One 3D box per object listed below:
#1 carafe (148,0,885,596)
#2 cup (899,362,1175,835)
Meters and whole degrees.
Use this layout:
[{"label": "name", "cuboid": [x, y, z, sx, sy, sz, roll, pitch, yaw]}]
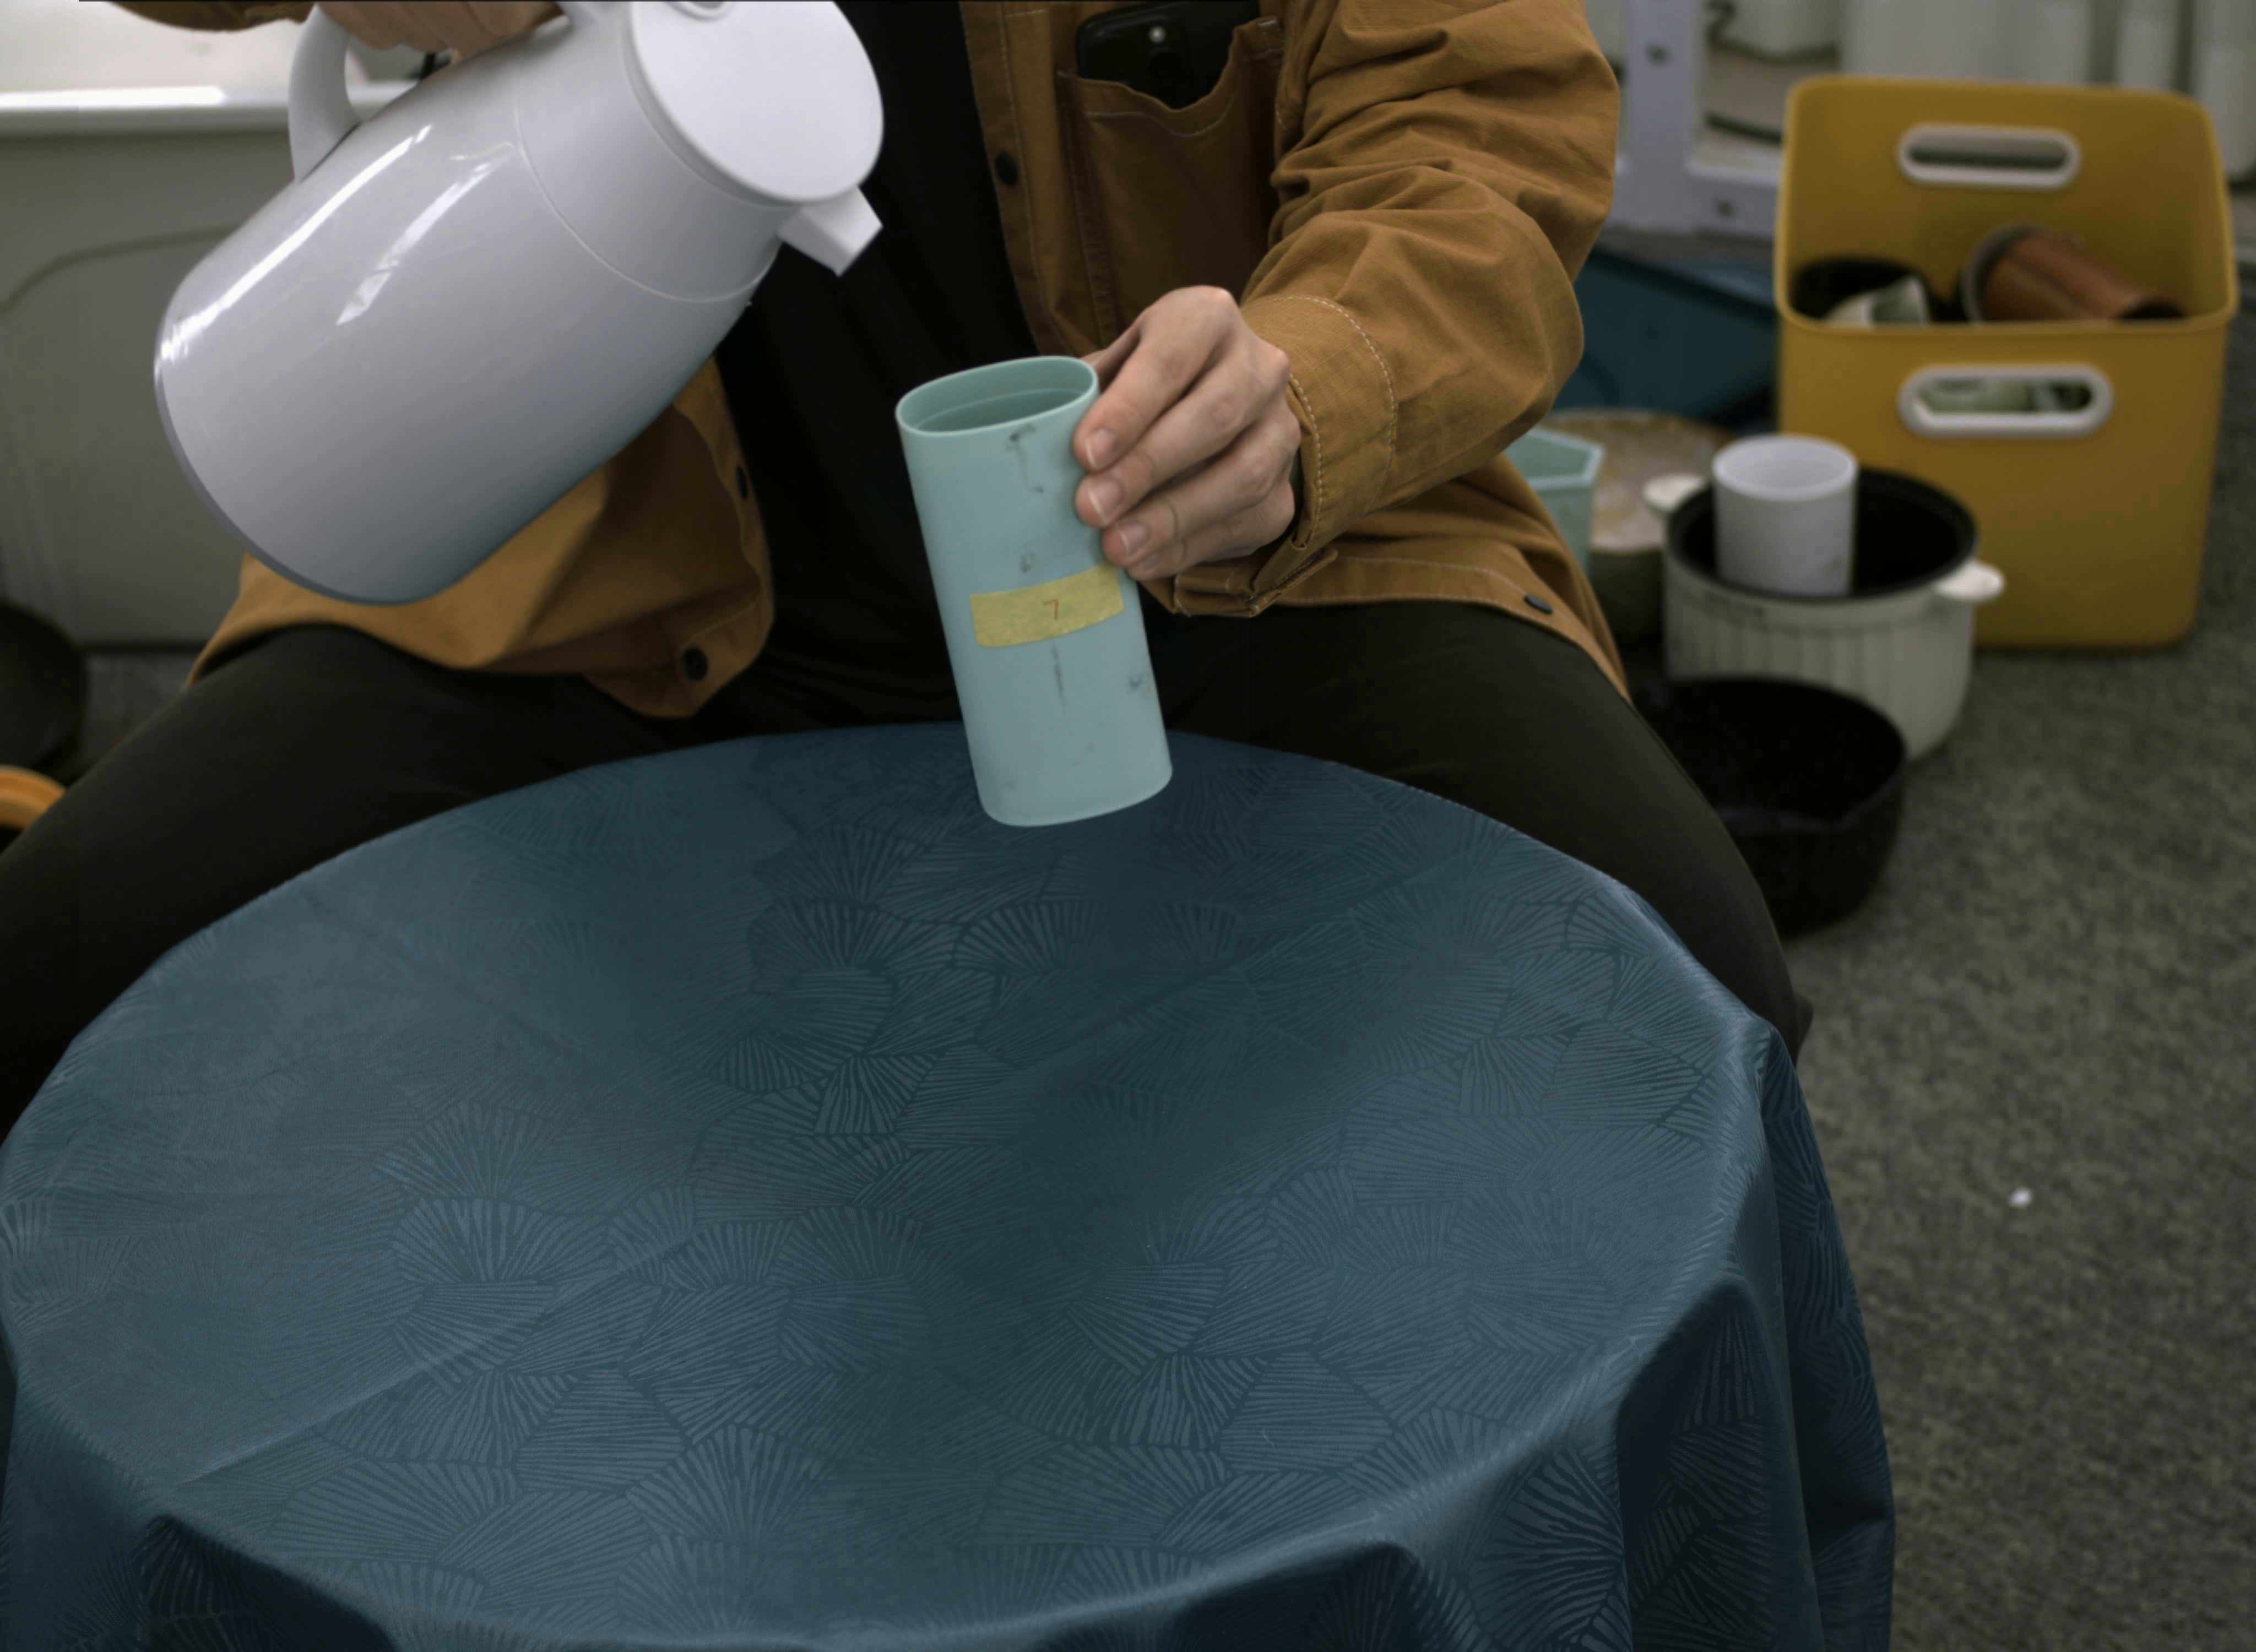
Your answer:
[{"label": "carafe", "cuboid": [-0.196, -0.195, 1.744, 0.244, 0.167, 0.135, -32, 14, 40]}, {"label": "cup", "cuboid": [-0.027, -0.071, 1.732, 0.066, 0.131, 0.067, -10, 20, 4]}]
